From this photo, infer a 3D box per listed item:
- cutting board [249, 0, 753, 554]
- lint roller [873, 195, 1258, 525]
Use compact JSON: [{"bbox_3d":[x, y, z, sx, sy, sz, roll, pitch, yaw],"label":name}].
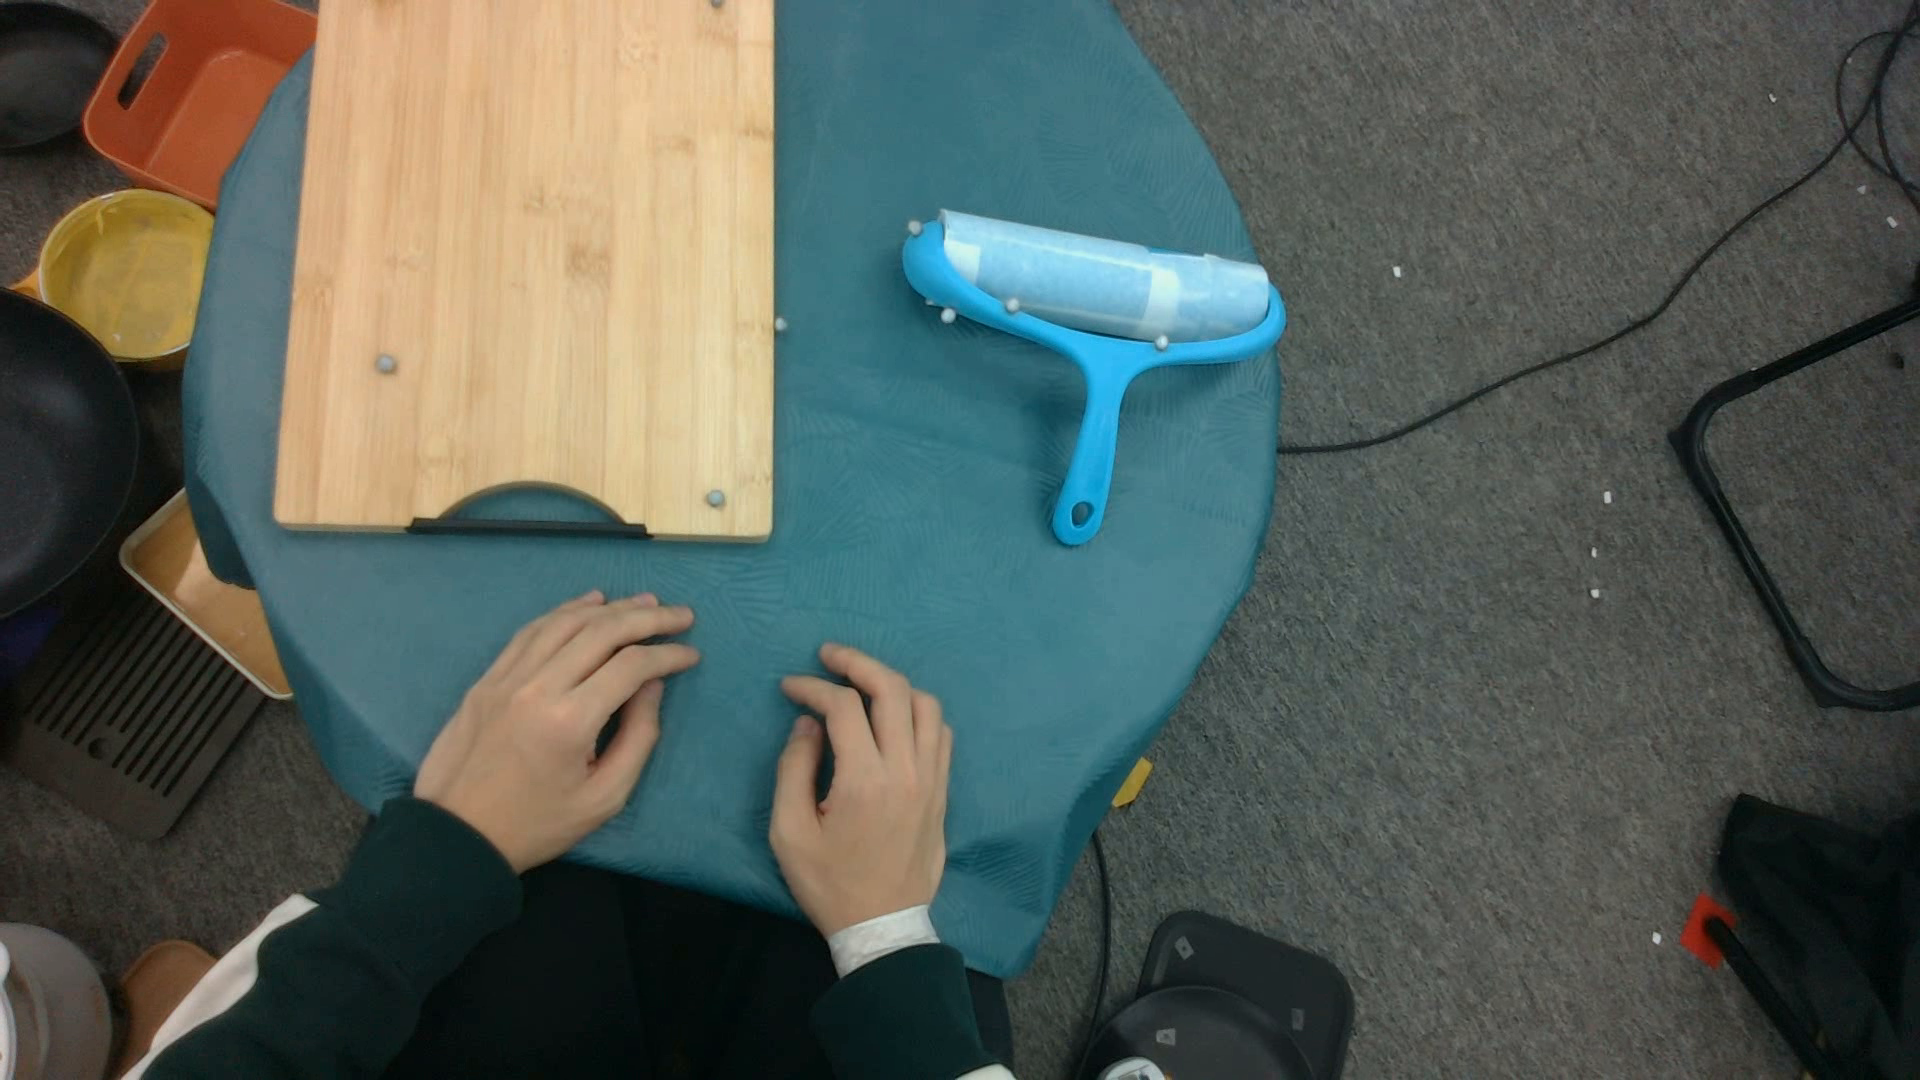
[{"bbox_3d":[-0.237,-0.163,0.740,0.251,0.023,0.349,-1,77,-15],"label":"cutting board"},{"bbox_3d":[0.064,-0.102,0.782,0.229,0.067,0.180,3,76,-15],"label":"lint roller"}]
